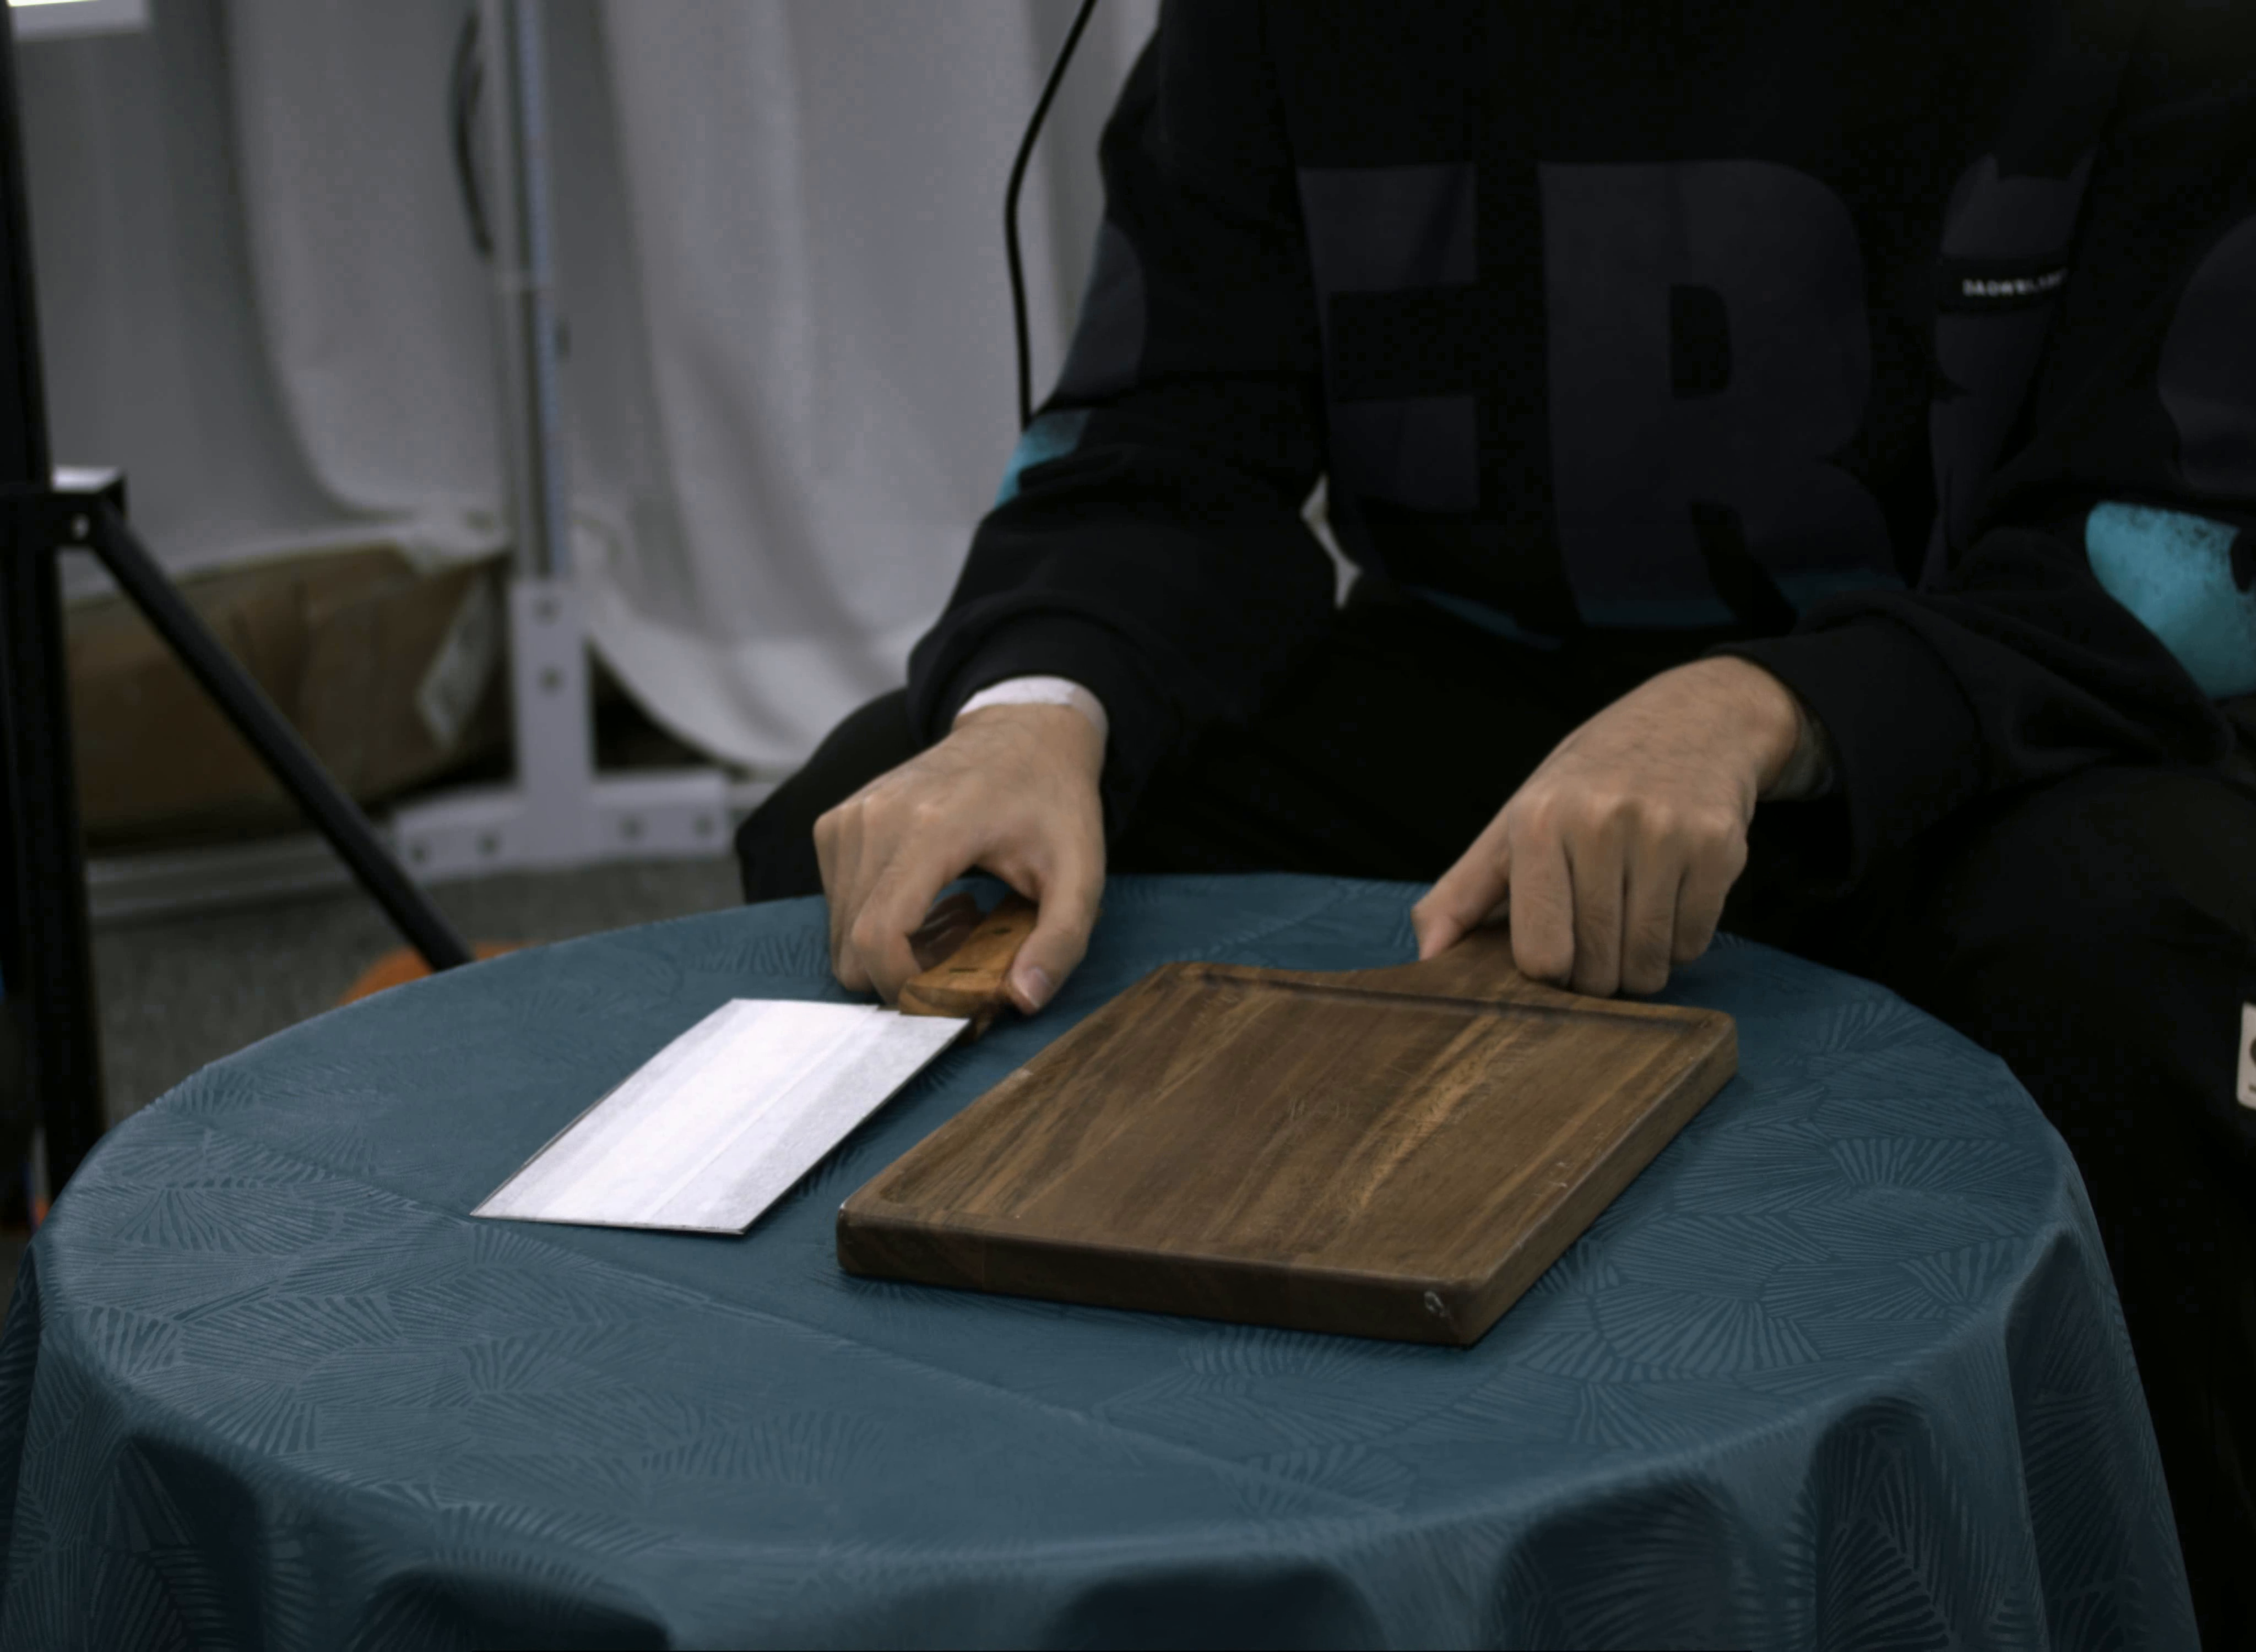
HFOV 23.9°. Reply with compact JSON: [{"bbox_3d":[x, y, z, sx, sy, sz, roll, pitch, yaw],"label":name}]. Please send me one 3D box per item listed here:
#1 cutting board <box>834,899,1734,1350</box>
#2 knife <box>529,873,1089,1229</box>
[{"bbox_3d":[0.071,0.080,1.606,0.204,0.023,0.347,4,17,23],"label":"cutting board"},{"bbox_3d":[-0.099,0.070,1.683,0.094,0.021,0.302,1,18,21],"label":"knife"}]
